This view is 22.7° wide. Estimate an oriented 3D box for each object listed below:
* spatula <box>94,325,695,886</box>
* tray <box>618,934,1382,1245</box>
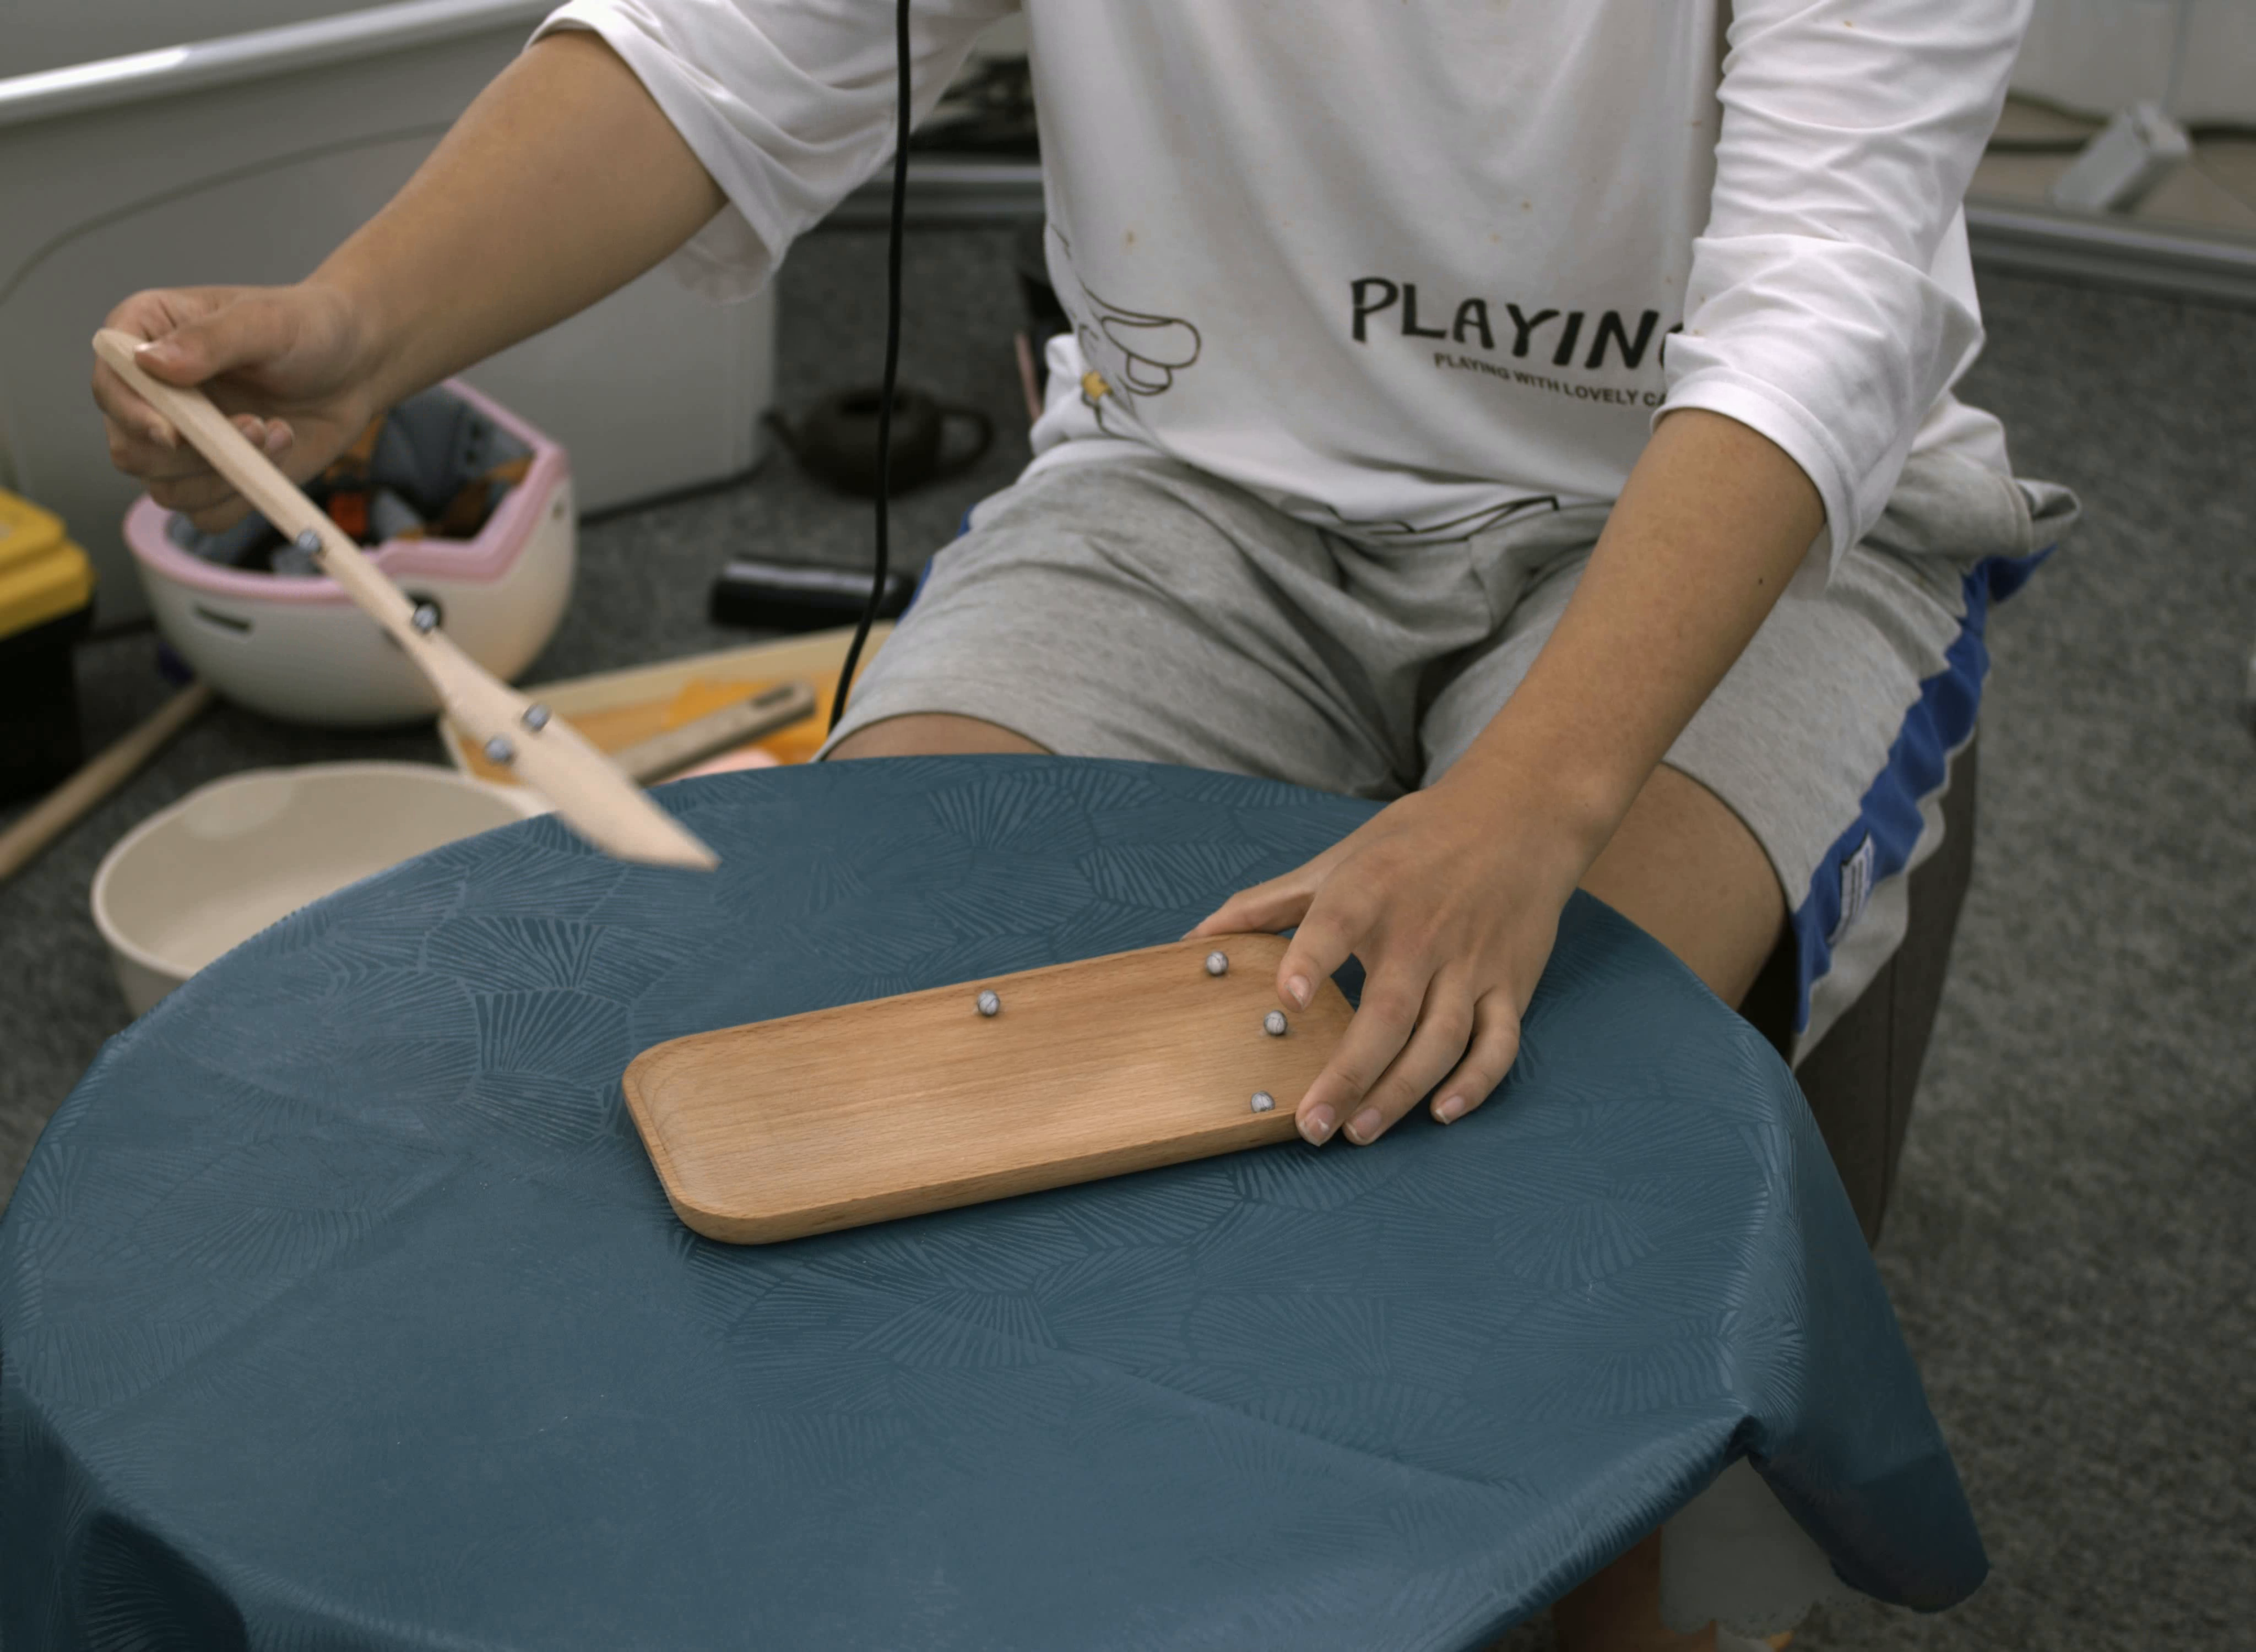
[{"bbox_3d":[-0.258,-0.076,1.917,0.294,0.010,0.072,44,13,20],"label":"spatula"},{"bbox_3d":[-0.044,0.089,1.914,0.251,0.022,0.132,-10,26,-13],"label":"tray"}]
